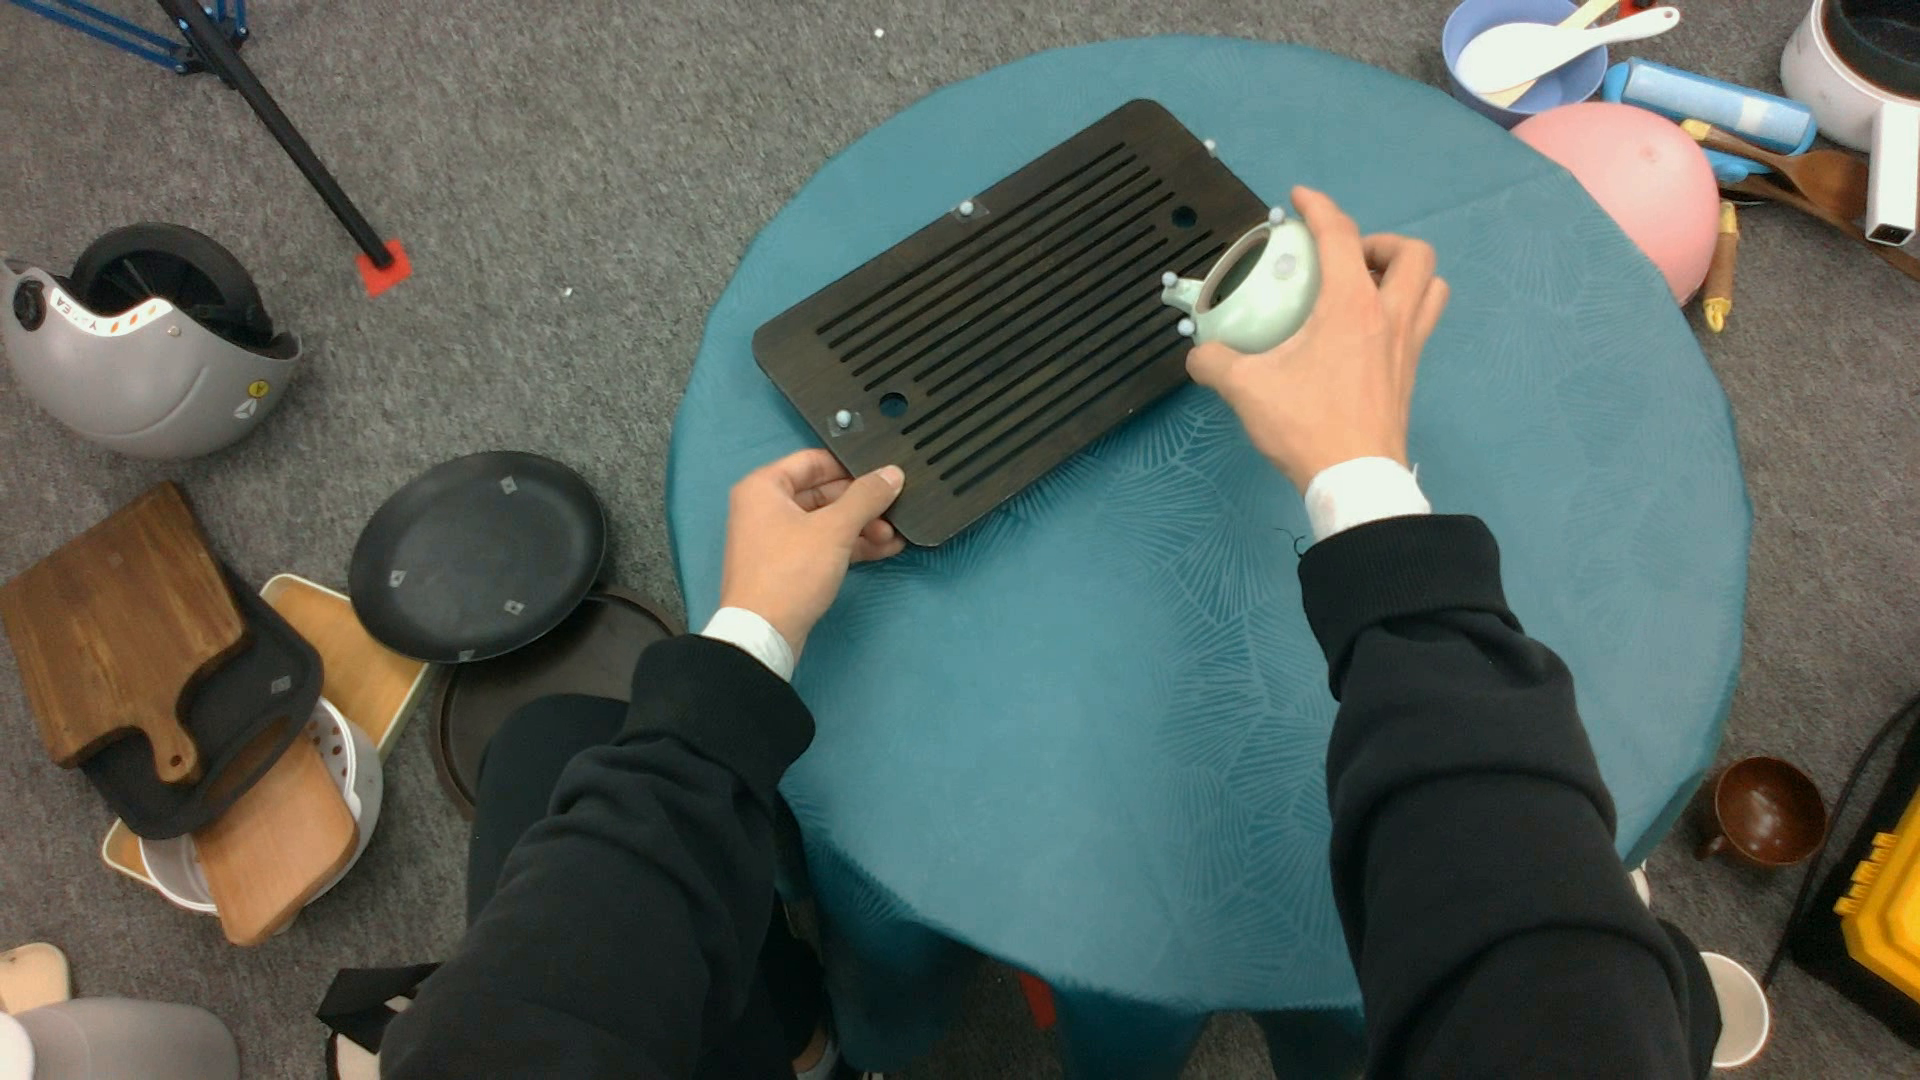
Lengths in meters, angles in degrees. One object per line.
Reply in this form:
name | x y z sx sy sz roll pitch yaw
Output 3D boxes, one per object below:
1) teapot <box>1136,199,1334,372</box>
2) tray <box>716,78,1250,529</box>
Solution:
teapot | 0.145 -0.129 0.697 0.075 0.143 0.088 34 81 -13
tray | 0.028 -0.145 0.794 0.307 0.018 0.170 -35 72 -17
